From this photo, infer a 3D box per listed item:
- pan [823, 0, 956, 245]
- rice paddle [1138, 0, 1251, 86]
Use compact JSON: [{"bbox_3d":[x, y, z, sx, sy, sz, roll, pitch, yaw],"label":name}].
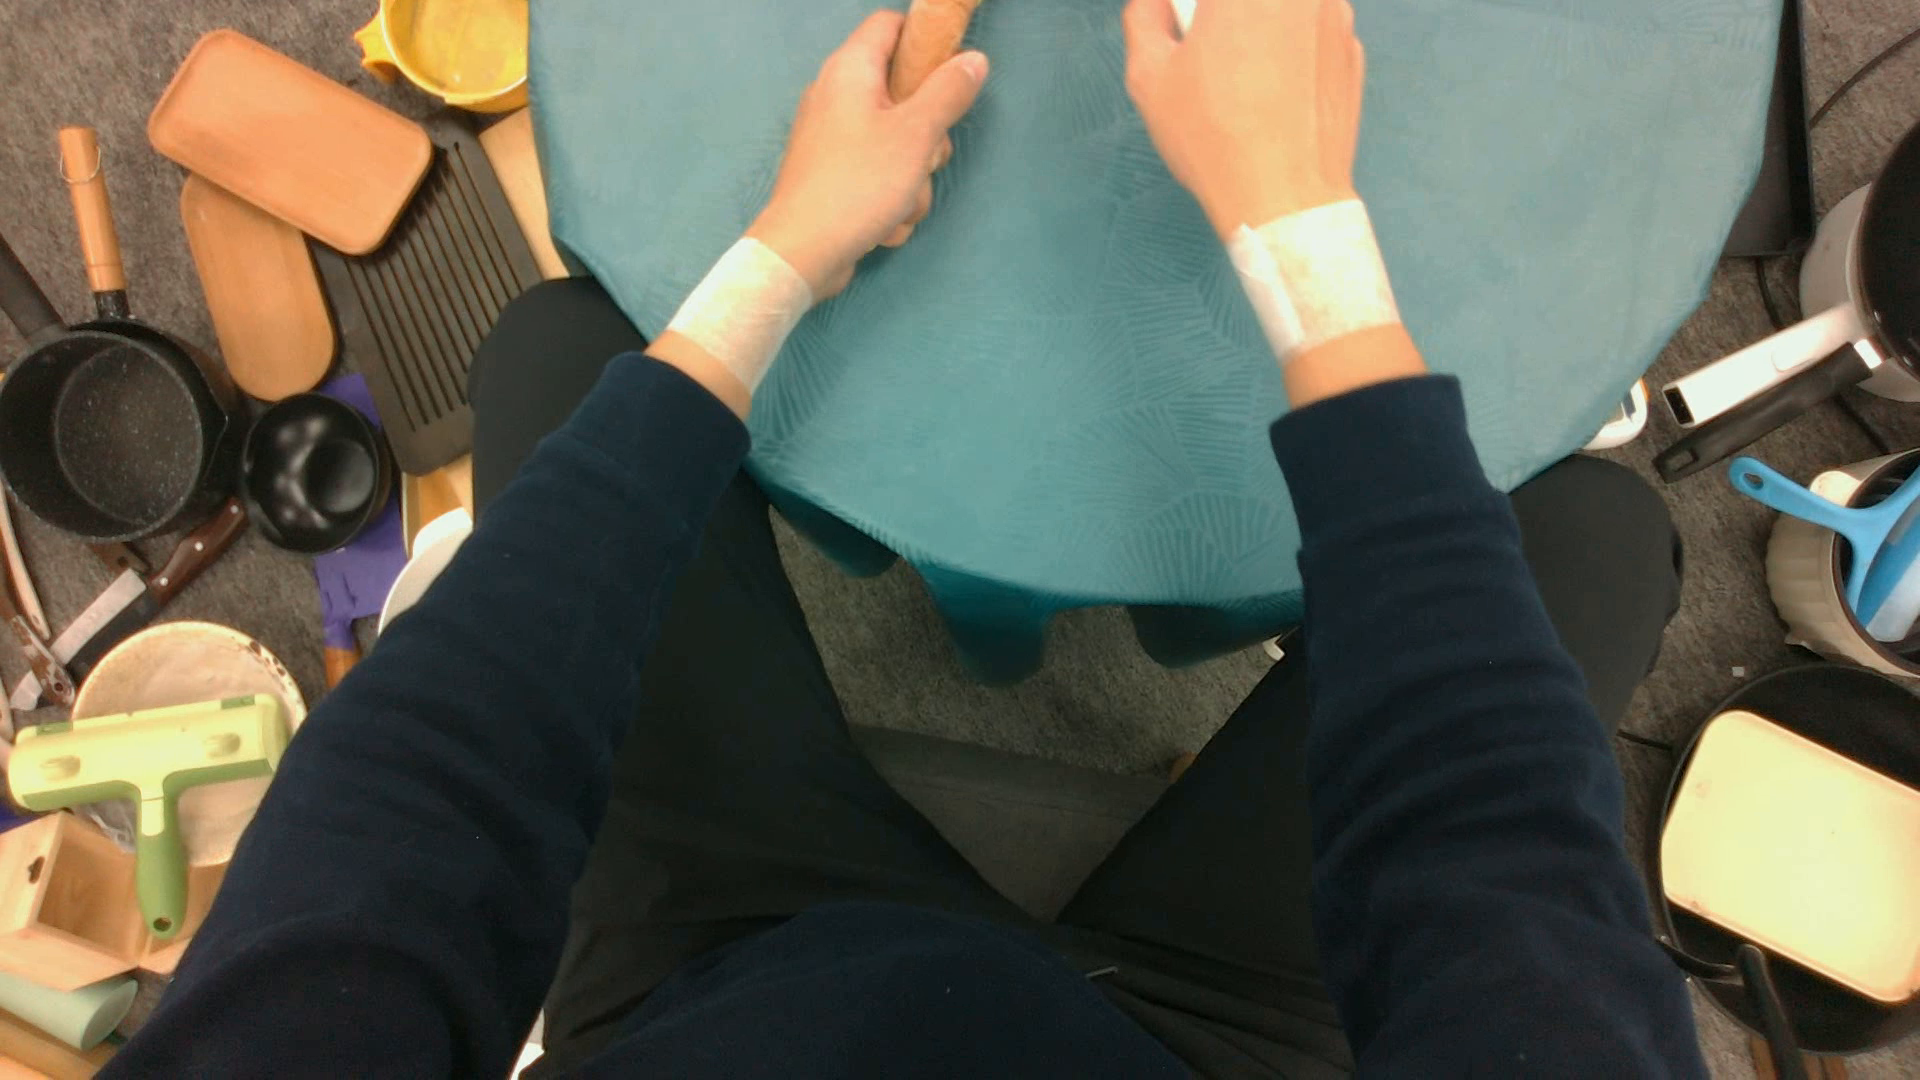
[{"bbox_3d":[-0.003,-0.289,0.629,0.169,0.049,0.324,21,92,-14],"label":"pan"},{"bbox_3d":[0.061,-0.280,0.594,0.069,0.029,0.205,-27,68,-1],"label":"rice paddle"}]
